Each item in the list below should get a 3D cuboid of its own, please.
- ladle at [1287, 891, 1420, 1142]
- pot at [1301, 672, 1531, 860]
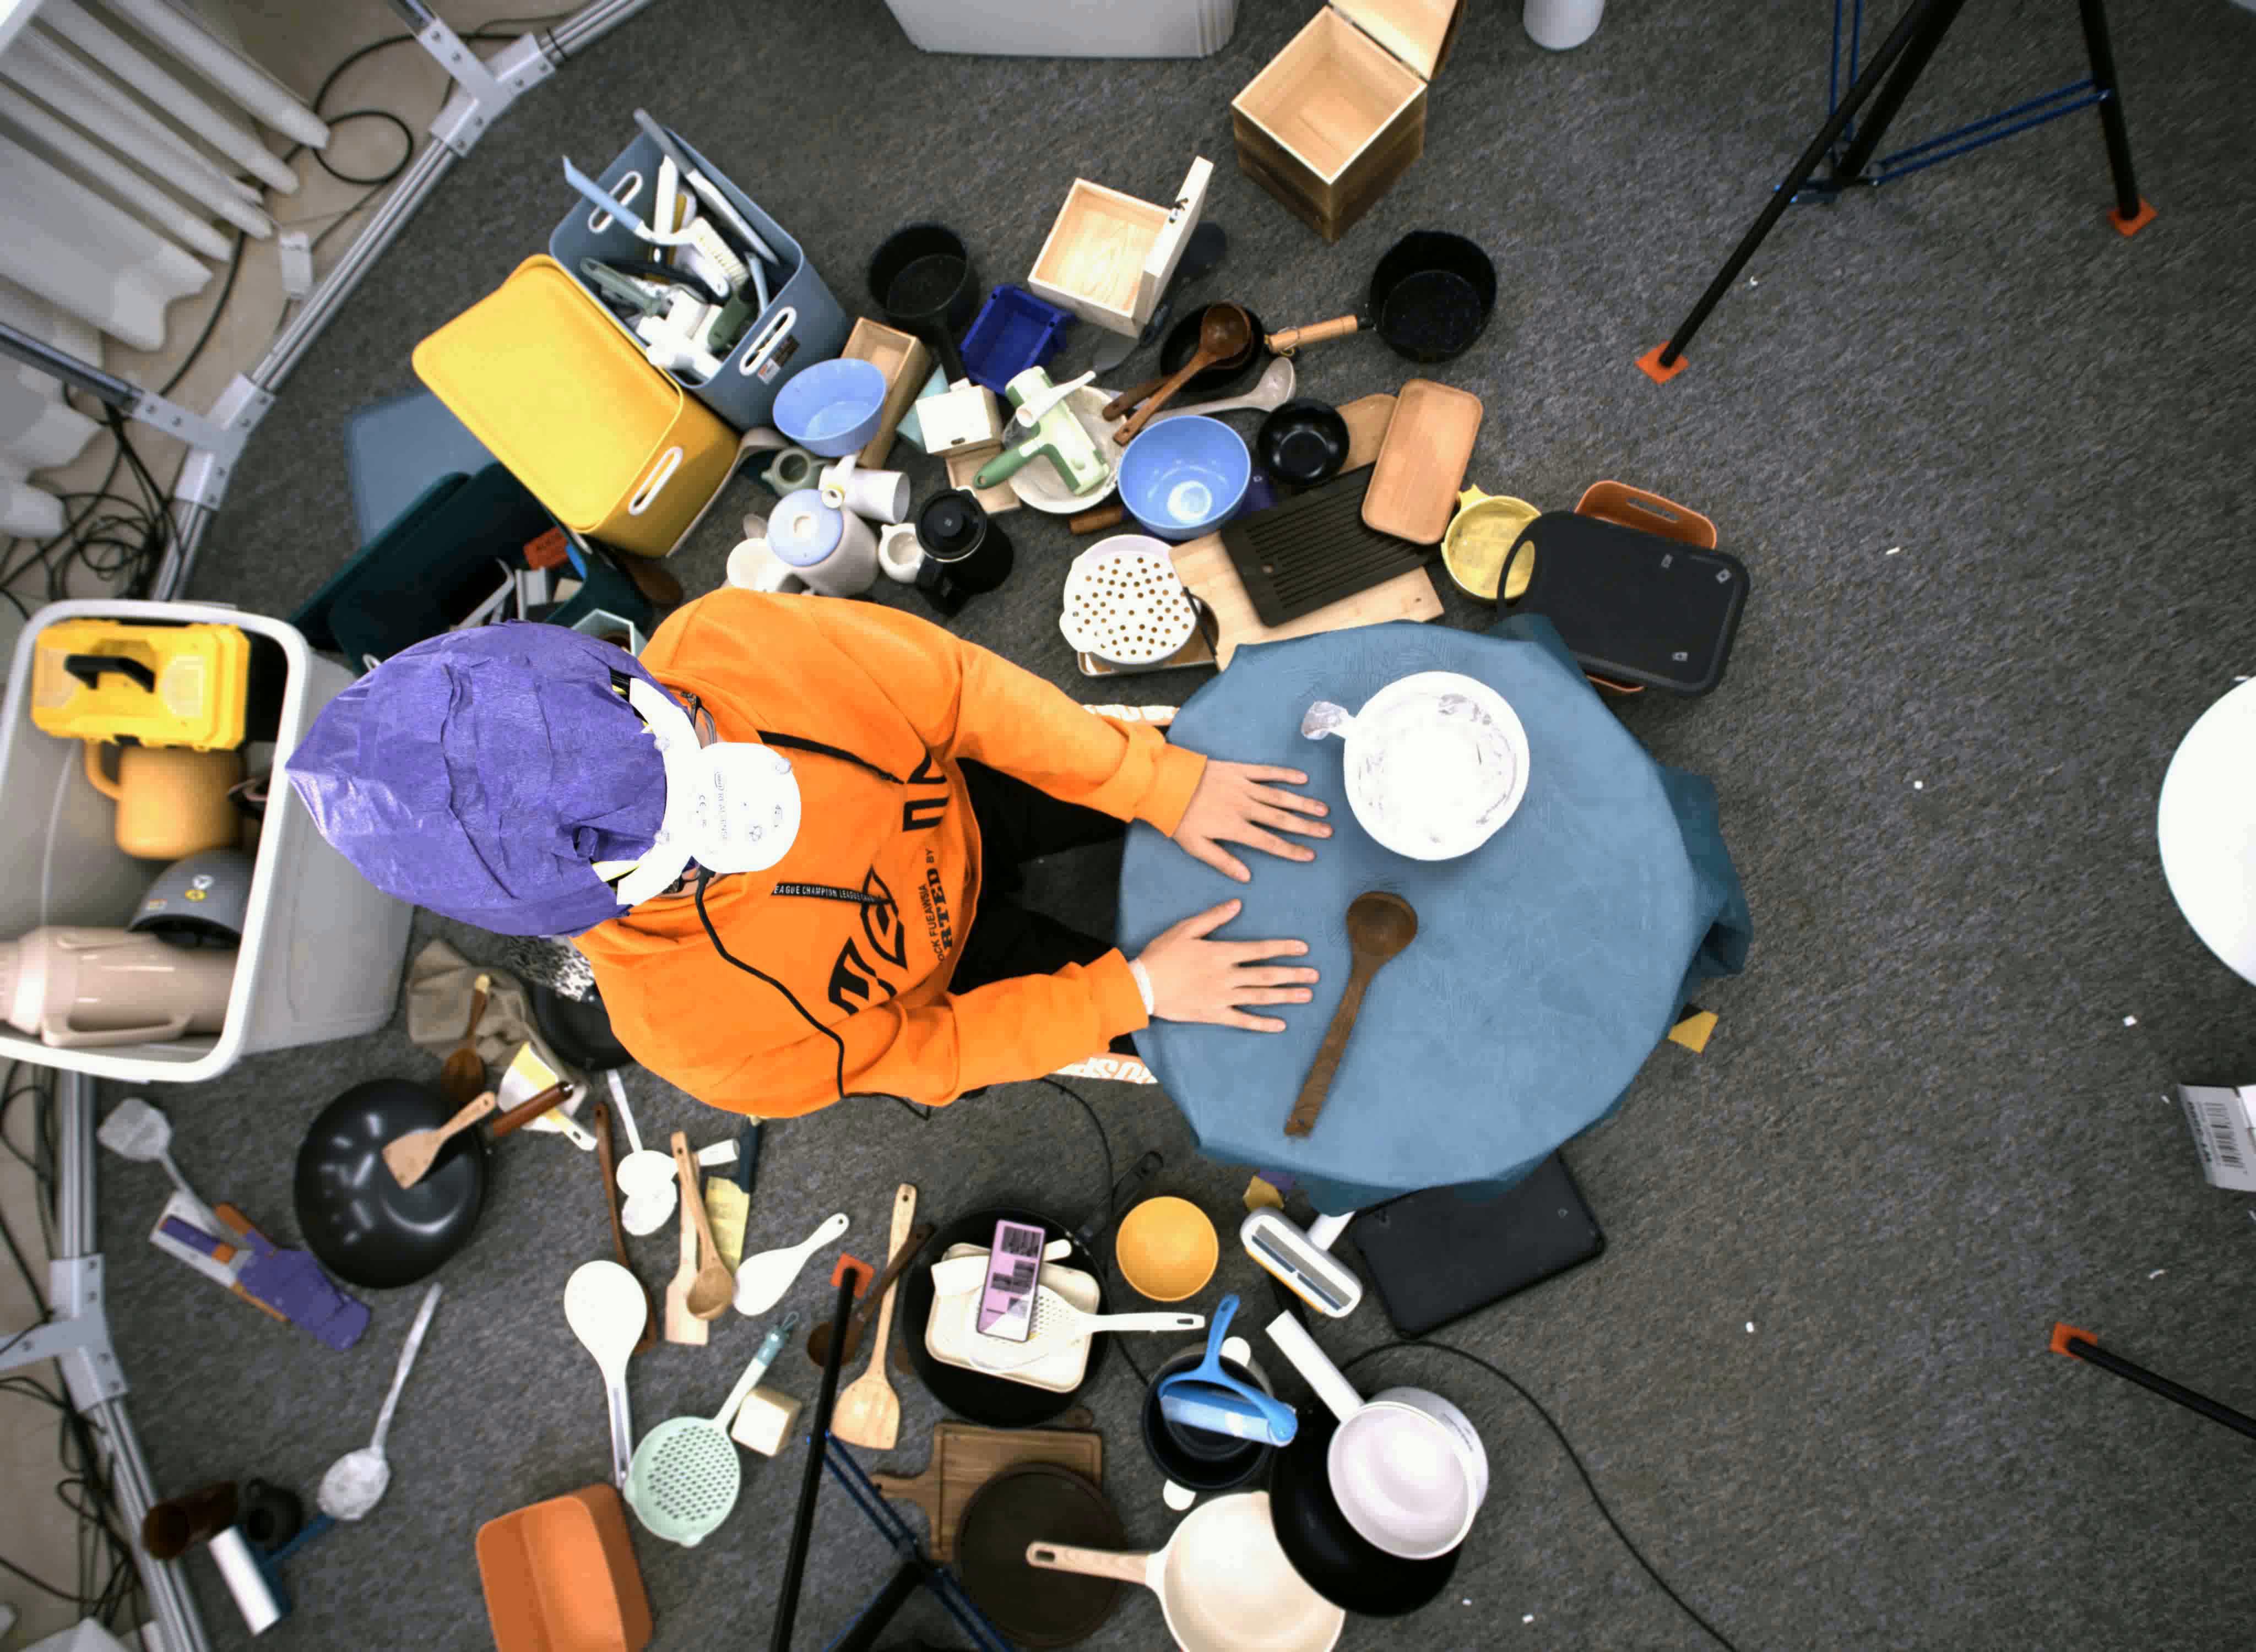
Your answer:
[{"bbox_3d":[0.223,0.197,1.426,0.076,0.071,0.274,23,90,14],"label":"ladle"},{"bbox_3d":[0.284,-0.069,1.396,0.233,0.137,0.178,24,90,11],"label":"pot"}]
